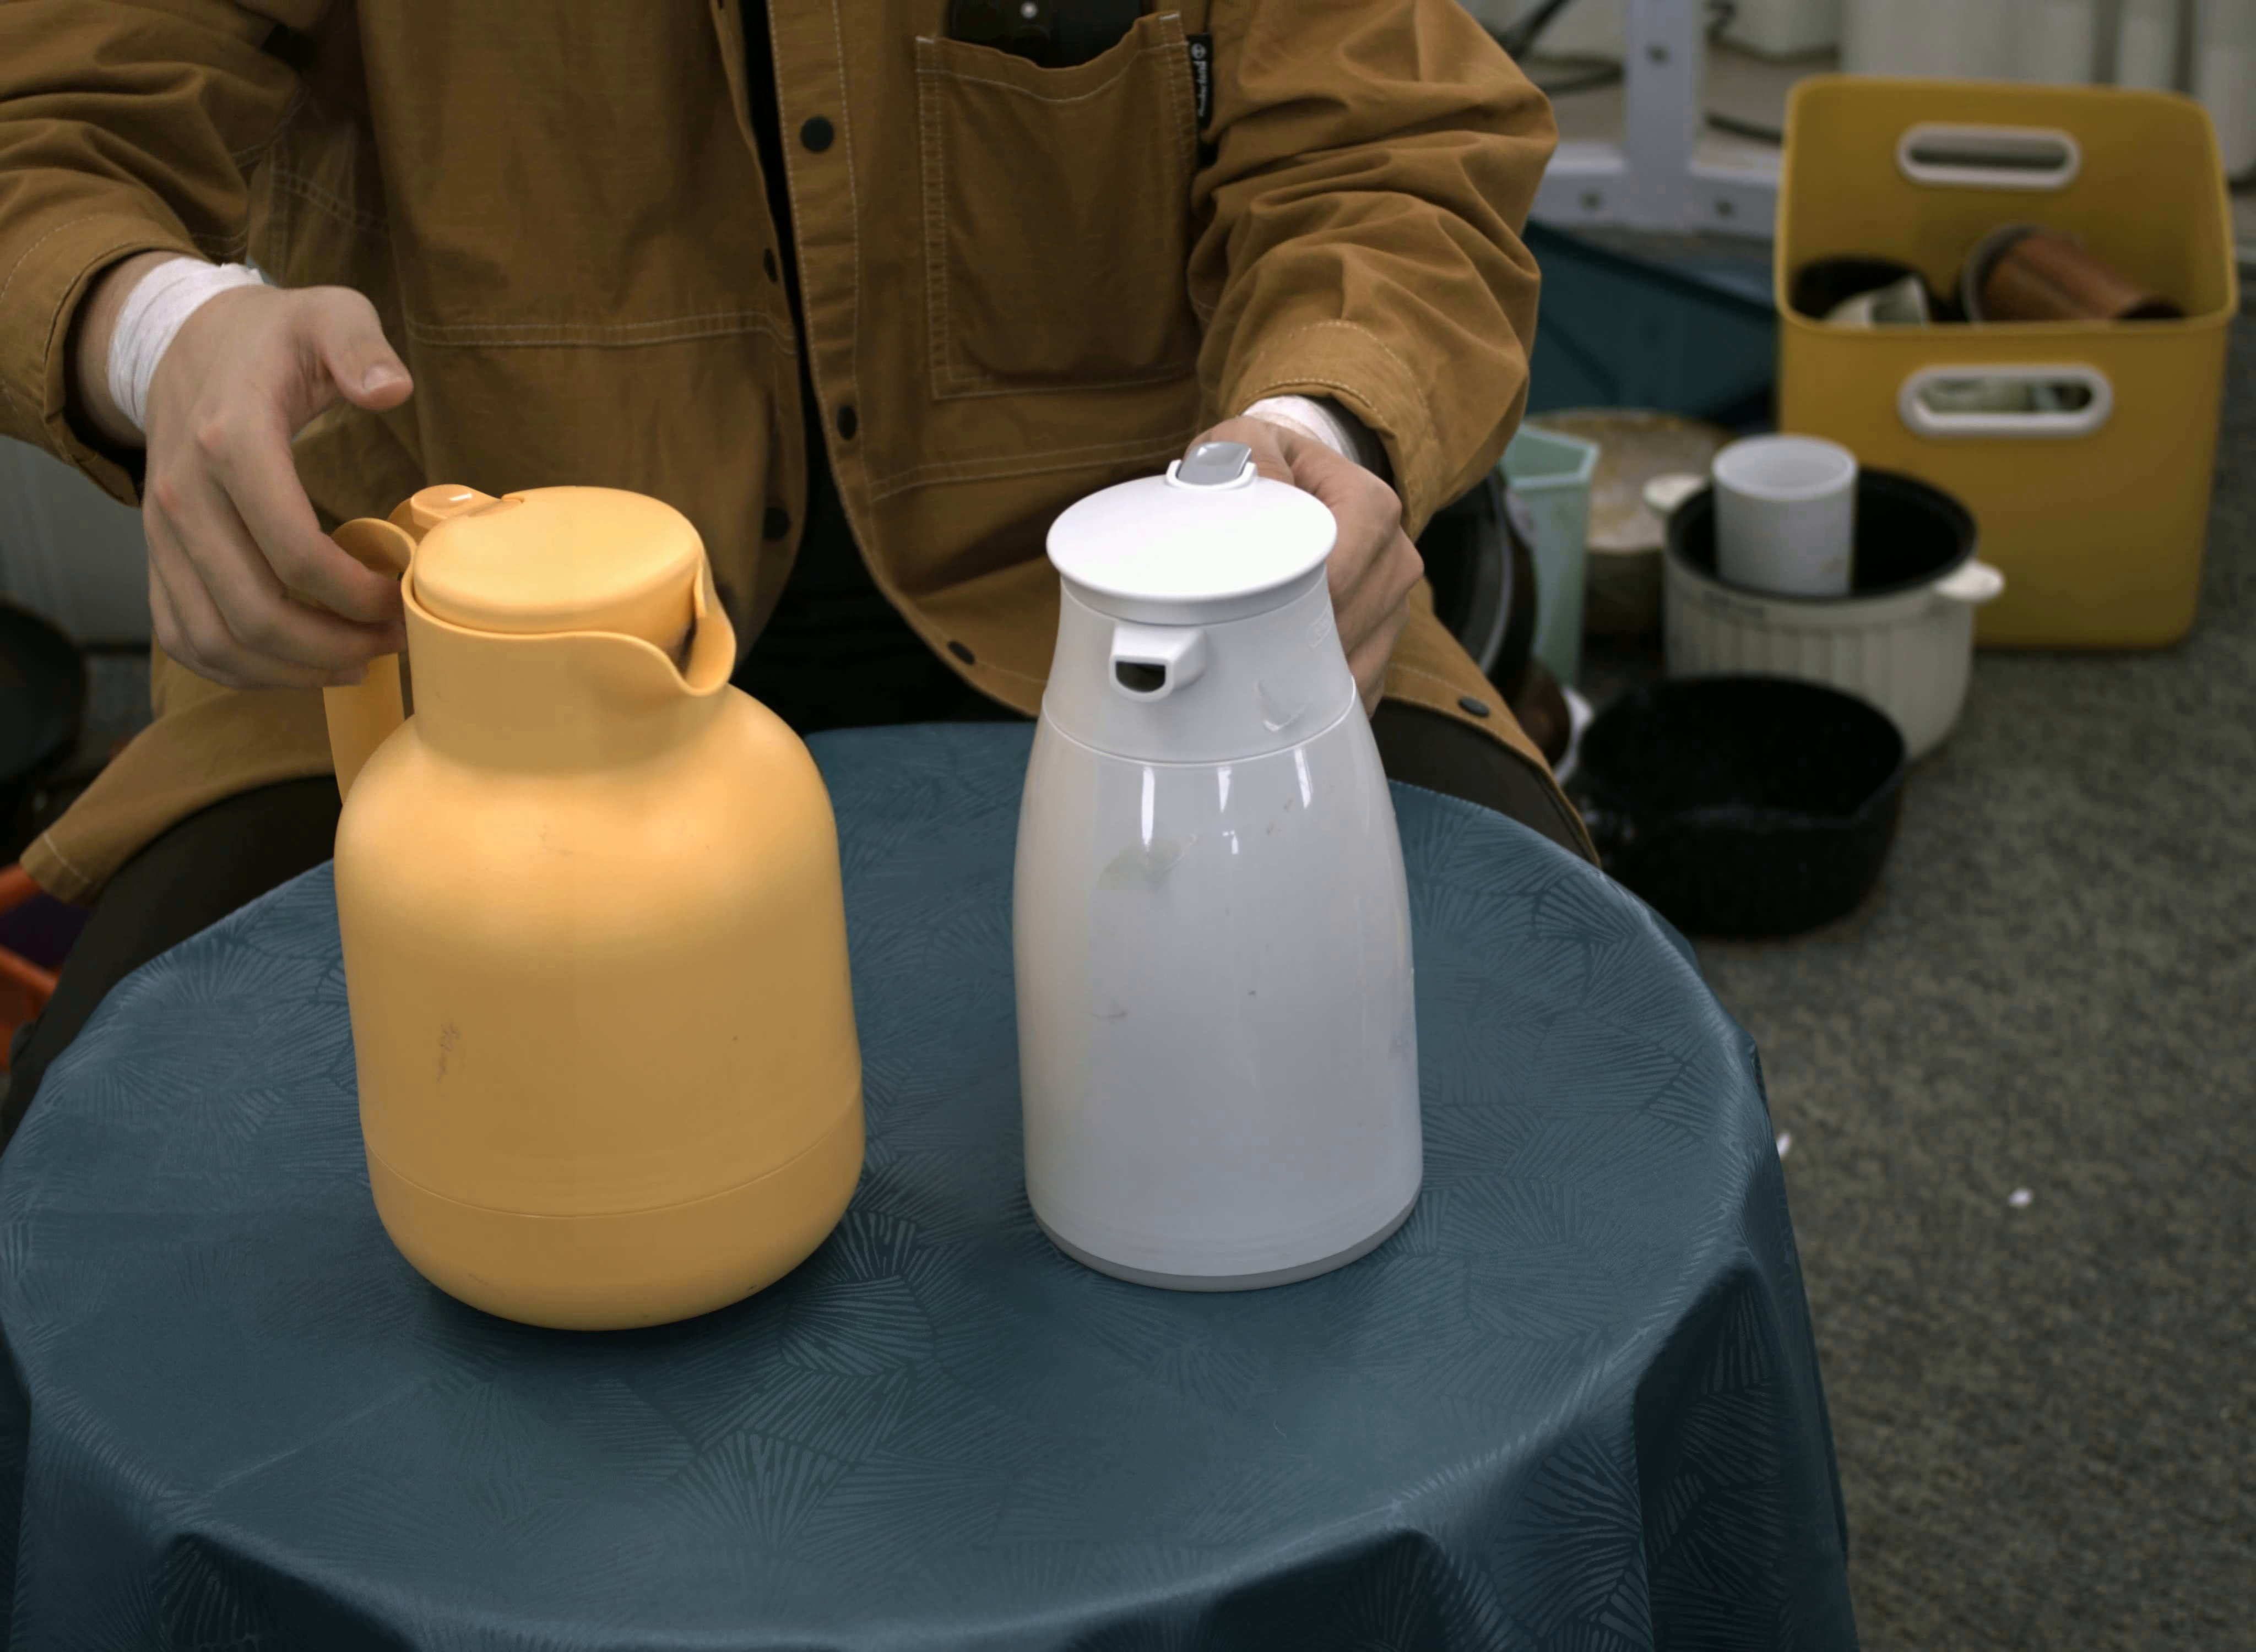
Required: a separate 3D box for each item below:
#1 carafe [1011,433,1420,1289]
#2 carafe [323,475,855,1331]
[{"bbox_3d":[0.029,0.000,1.823,0.131,0.246,0.170,4,27,15],"label":"carafe"},{"bbox_3d":[-0.184,0.014,1.806,0.165,0.258,0.202,-21,33,-37],"label":"carafe"}]
